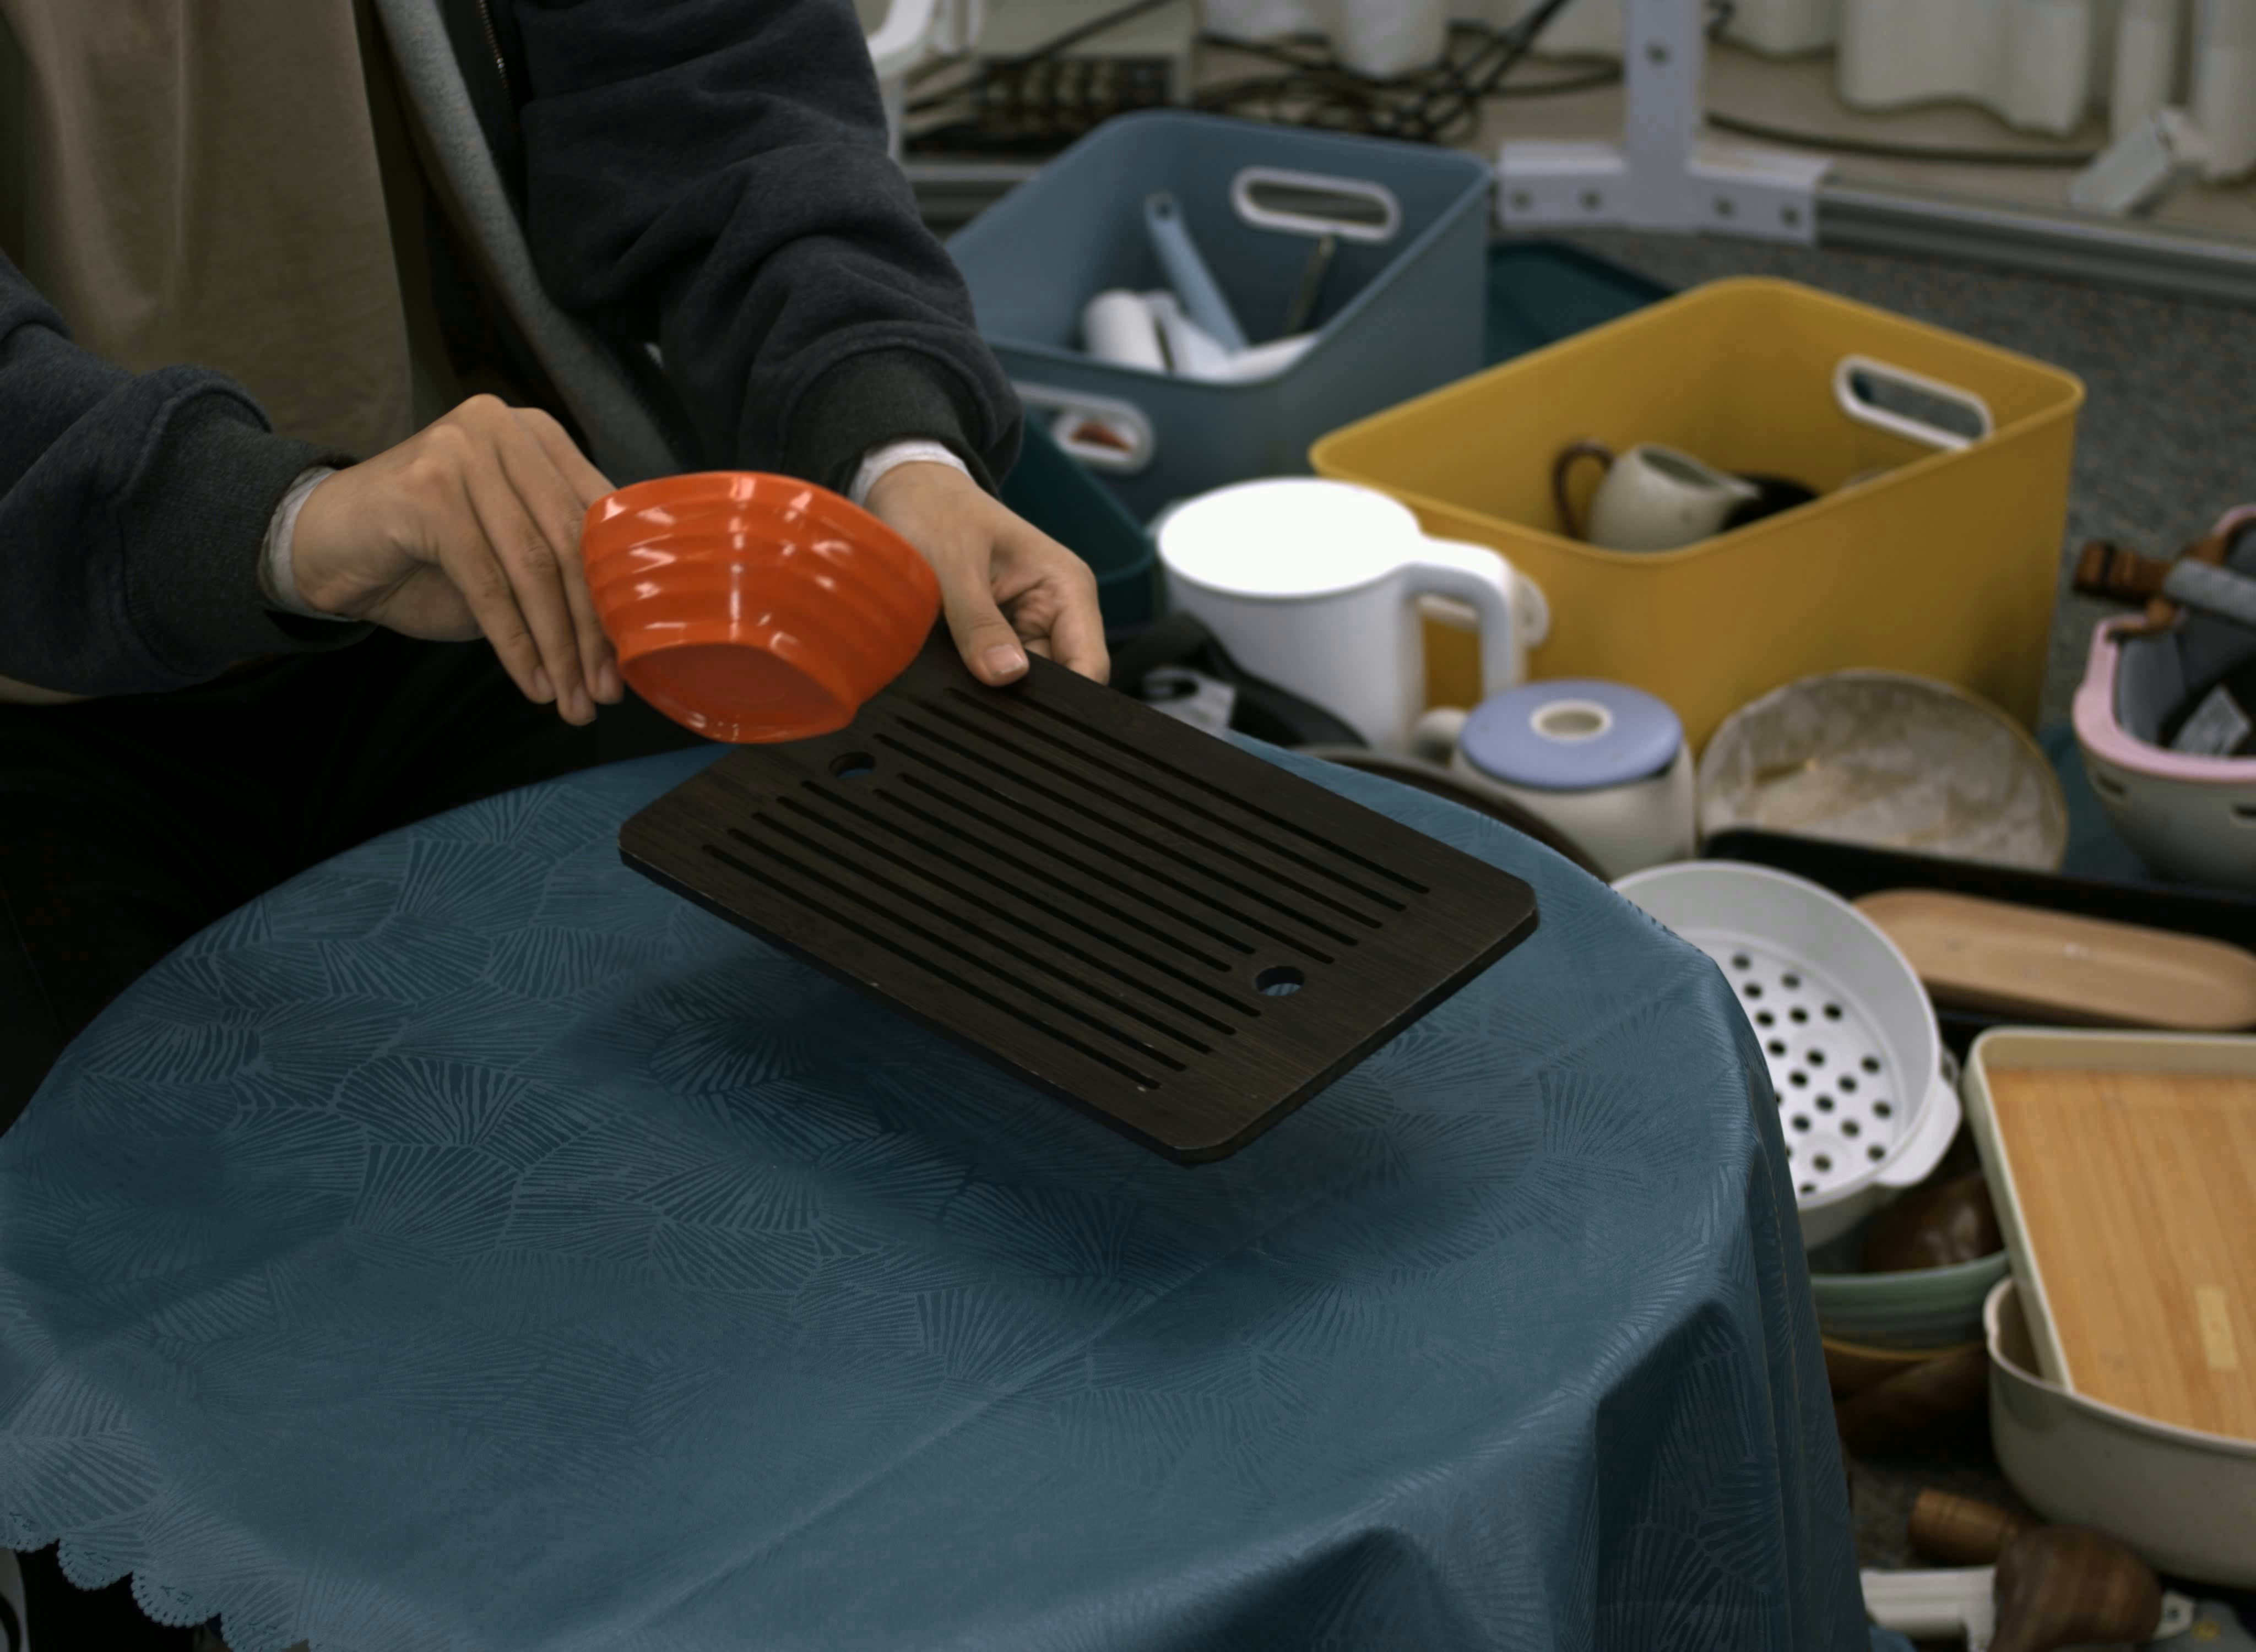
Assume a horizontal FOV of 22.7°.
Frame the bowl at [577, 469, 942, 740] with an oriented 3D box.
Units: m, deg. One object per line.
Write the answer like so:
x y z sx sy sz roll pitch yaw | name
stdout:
-0.121 -0.065 1.793 0.118 0.117 0.052 4 66 13 | bowl

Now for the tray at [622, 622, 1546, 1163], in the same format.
-0.019 0.019 1.922 0.172 0.018 0.306 -34 41 -31 | tray
